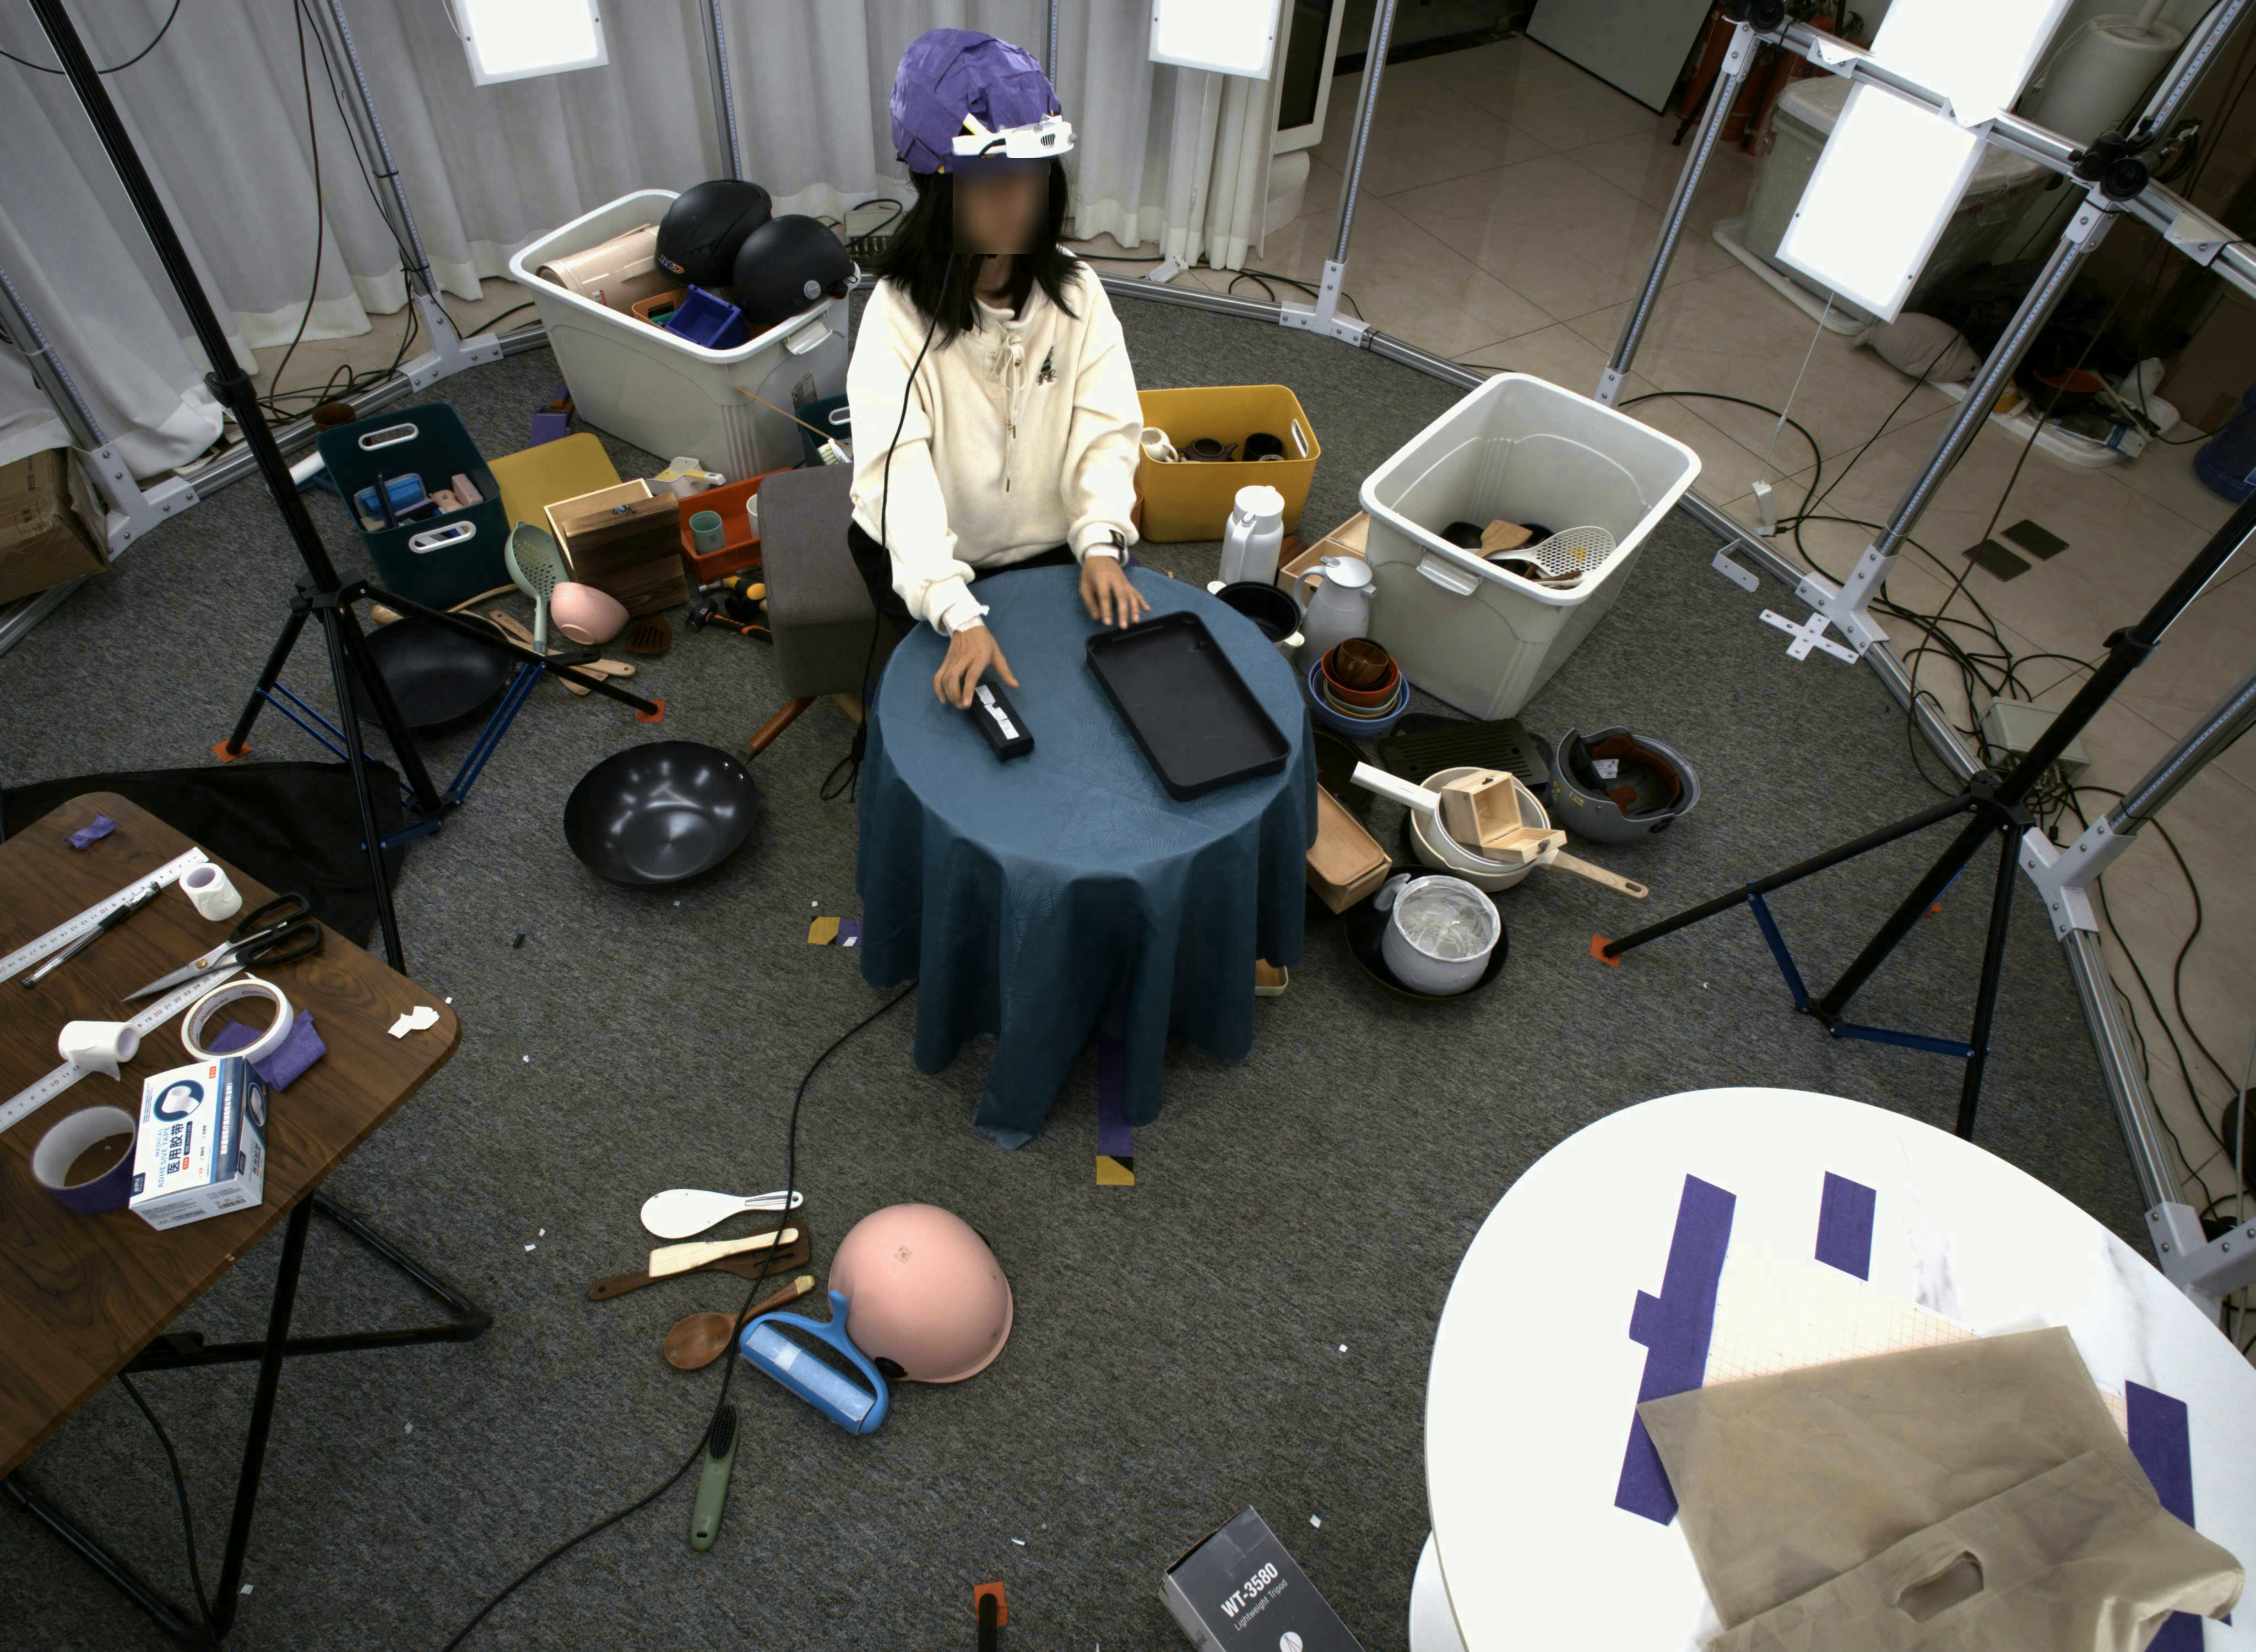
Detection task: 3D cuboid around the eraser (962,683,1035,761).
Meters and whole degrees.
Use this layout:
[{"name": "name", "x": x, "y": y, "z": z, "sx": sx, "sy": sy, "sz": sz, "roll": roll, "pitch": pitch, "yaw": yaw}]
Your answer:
[{"name": "eraser", "x": -0.178, "y": -0.144, "z": 1.764, "sx": 0.053, "sy": 0.030, "sz": 0.128, "roll": -17, "pitch": 53, "yaw": -24}]

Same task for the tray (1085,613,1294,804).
[{"name": "tray", "x": 0.080, "y": -0.172, "z": 1.801, "sx": 0.184, "sy": 0.036, "sz": 0.325, "roll": -18, "pitch": 52, "yaw": -19}]
